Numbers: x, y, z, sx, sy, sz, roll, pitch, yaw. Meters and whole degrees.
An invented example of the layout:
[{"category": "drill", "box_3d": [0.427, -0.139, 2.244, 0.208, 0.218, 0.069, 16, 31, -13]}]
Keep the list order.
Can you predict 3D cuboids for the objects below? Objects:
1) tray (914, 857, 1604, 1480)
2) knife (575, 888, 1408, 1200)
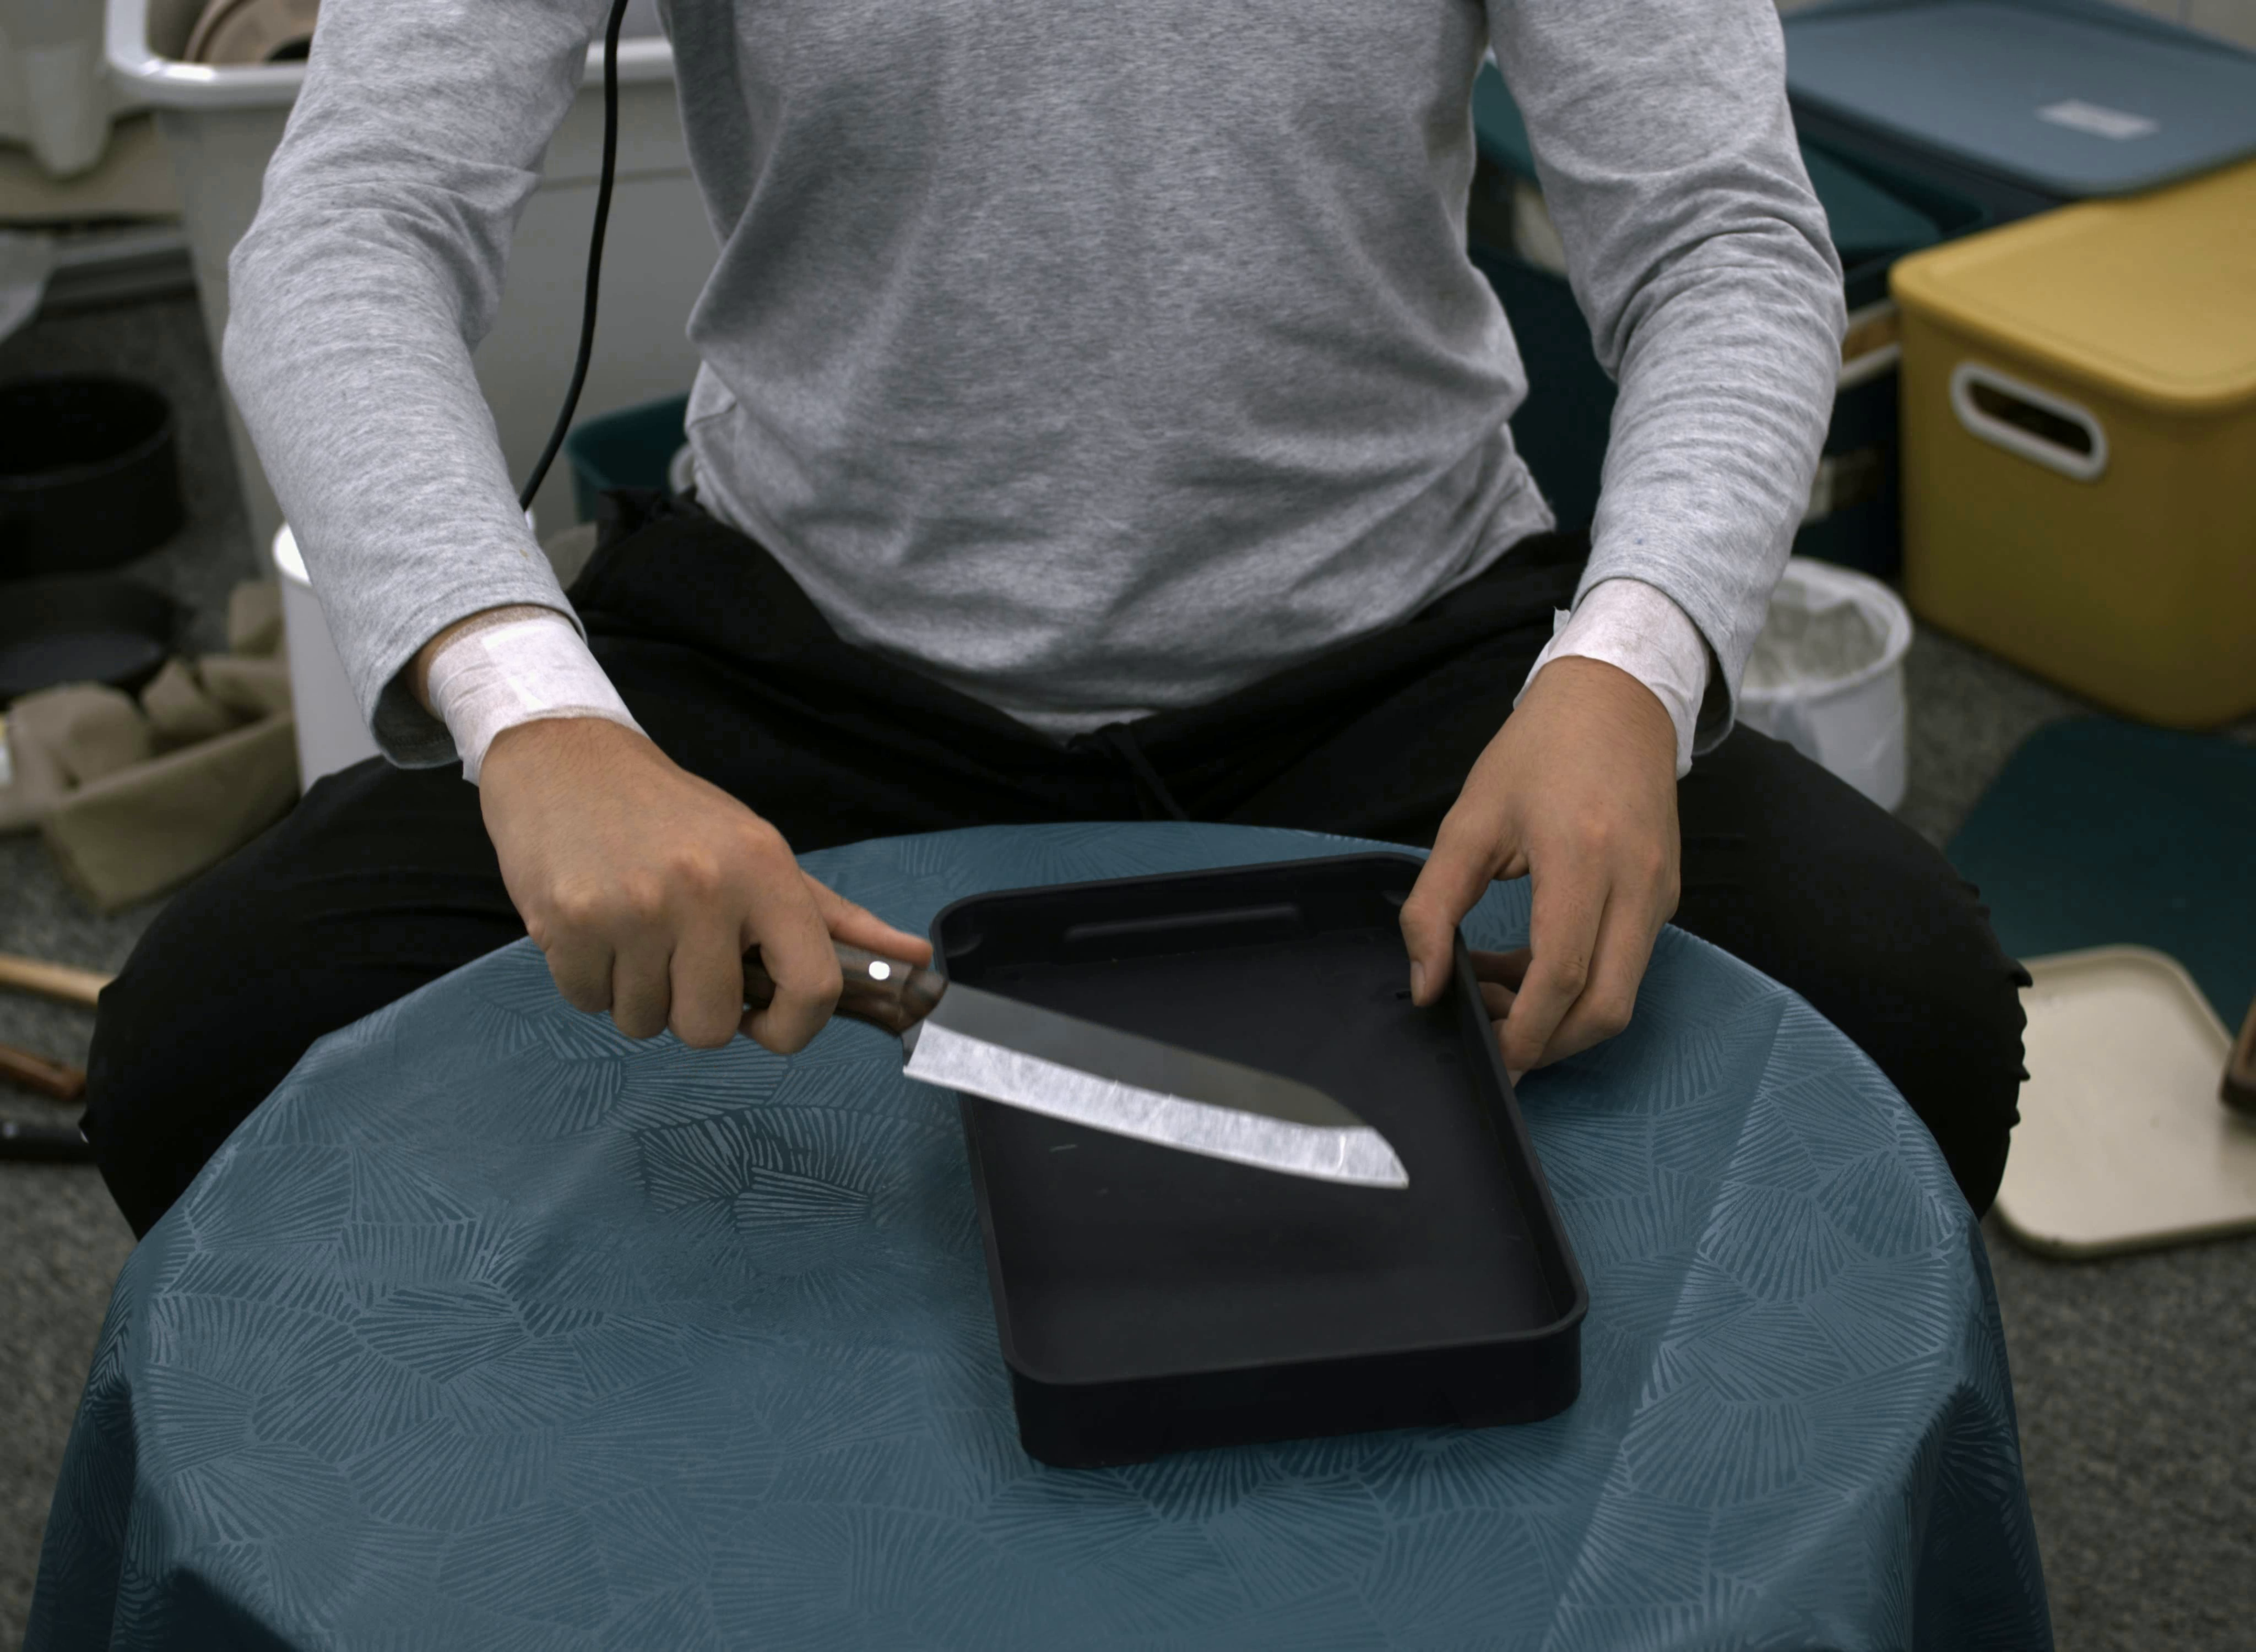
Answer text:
[{"category": "tray", "box_3d": [0.037, 0.106, 1.848, 0.184, 0.036, 0.322, -6, 27, -7]}, {"category": "knife", "box_3d": [-0.046, 0.073, 1.821, 0.288, 0.019, 0.051, 18, 45, 5]}]
